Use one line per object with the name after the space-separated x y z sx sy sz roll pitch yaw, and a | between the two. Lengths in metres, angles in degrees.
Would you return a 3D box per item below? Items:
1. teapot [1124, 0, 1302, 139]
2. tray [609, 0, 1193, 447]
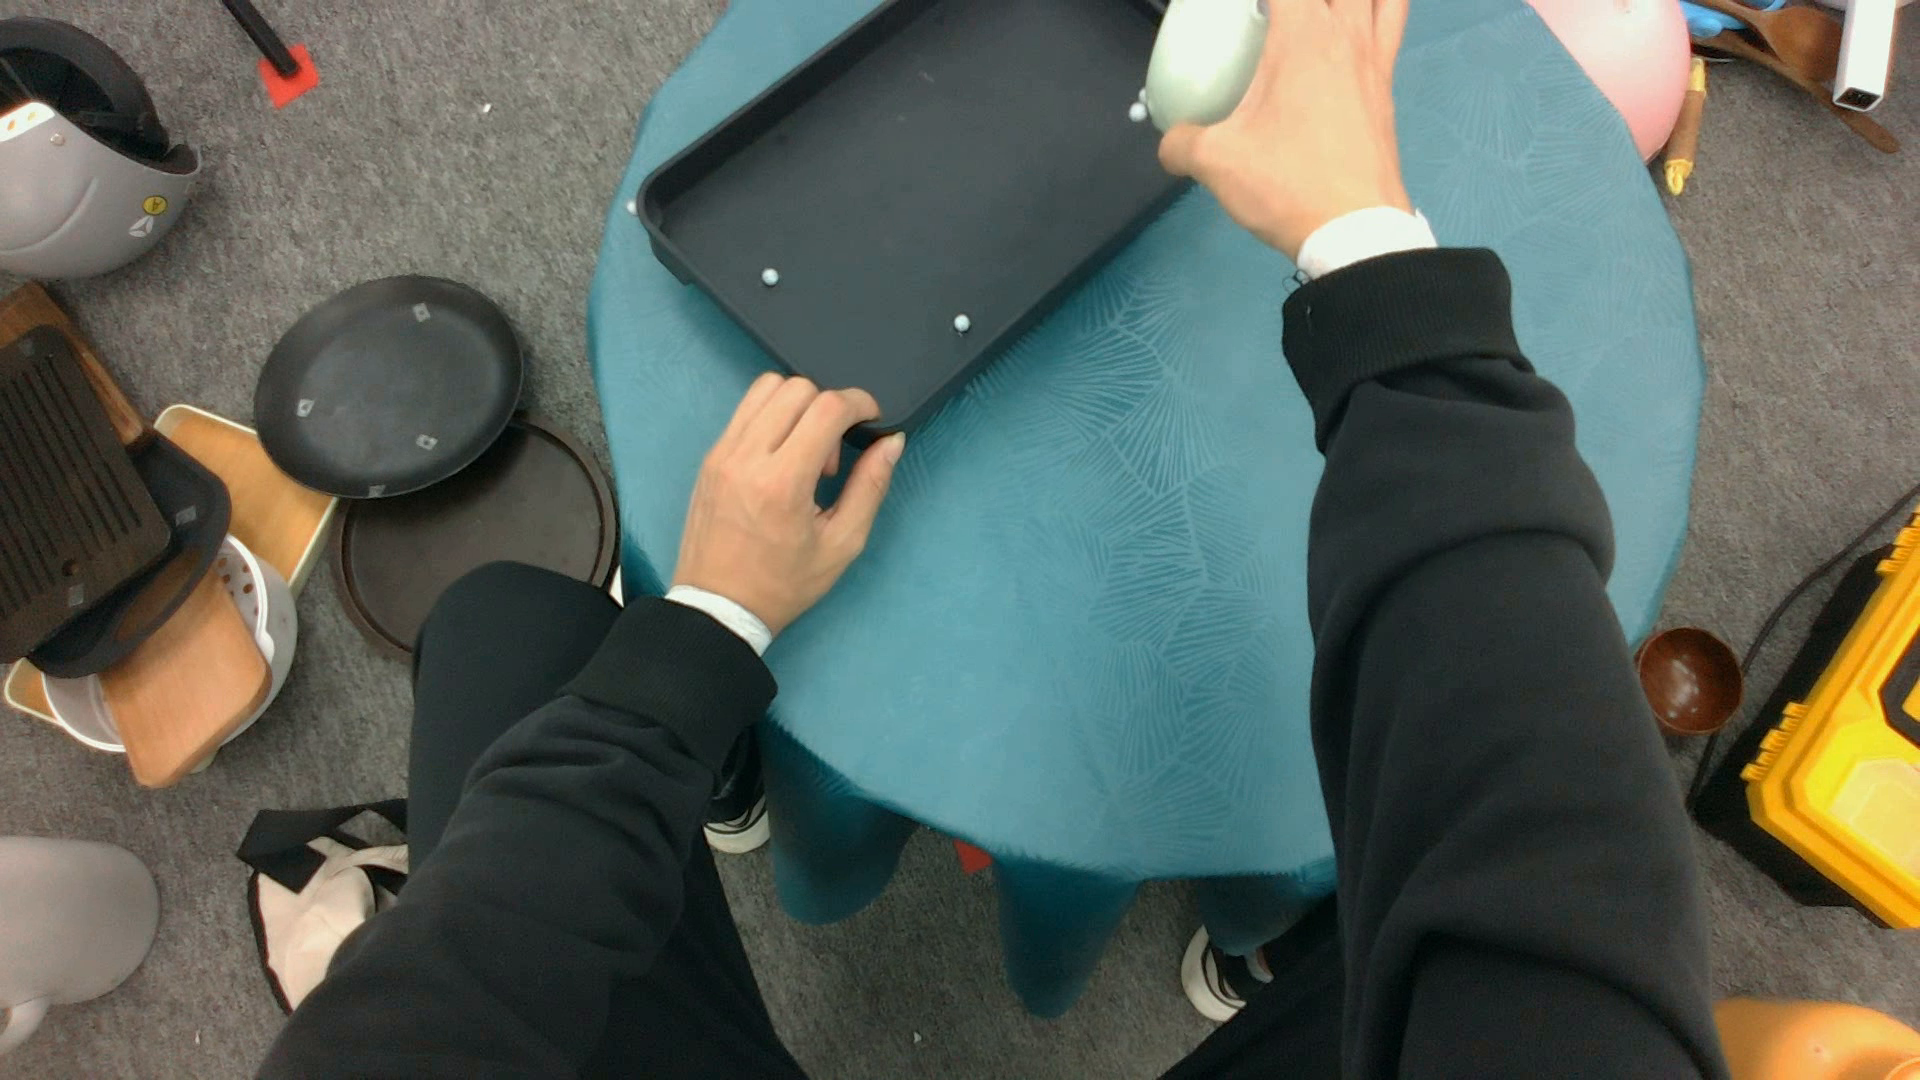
0.112 -0.226 0.621 0.075 0.143 0.088 22 81 9 | teapot
-0.012 -0.207 0.730 0.184 0.037 0.319 42 70 8 | tray
